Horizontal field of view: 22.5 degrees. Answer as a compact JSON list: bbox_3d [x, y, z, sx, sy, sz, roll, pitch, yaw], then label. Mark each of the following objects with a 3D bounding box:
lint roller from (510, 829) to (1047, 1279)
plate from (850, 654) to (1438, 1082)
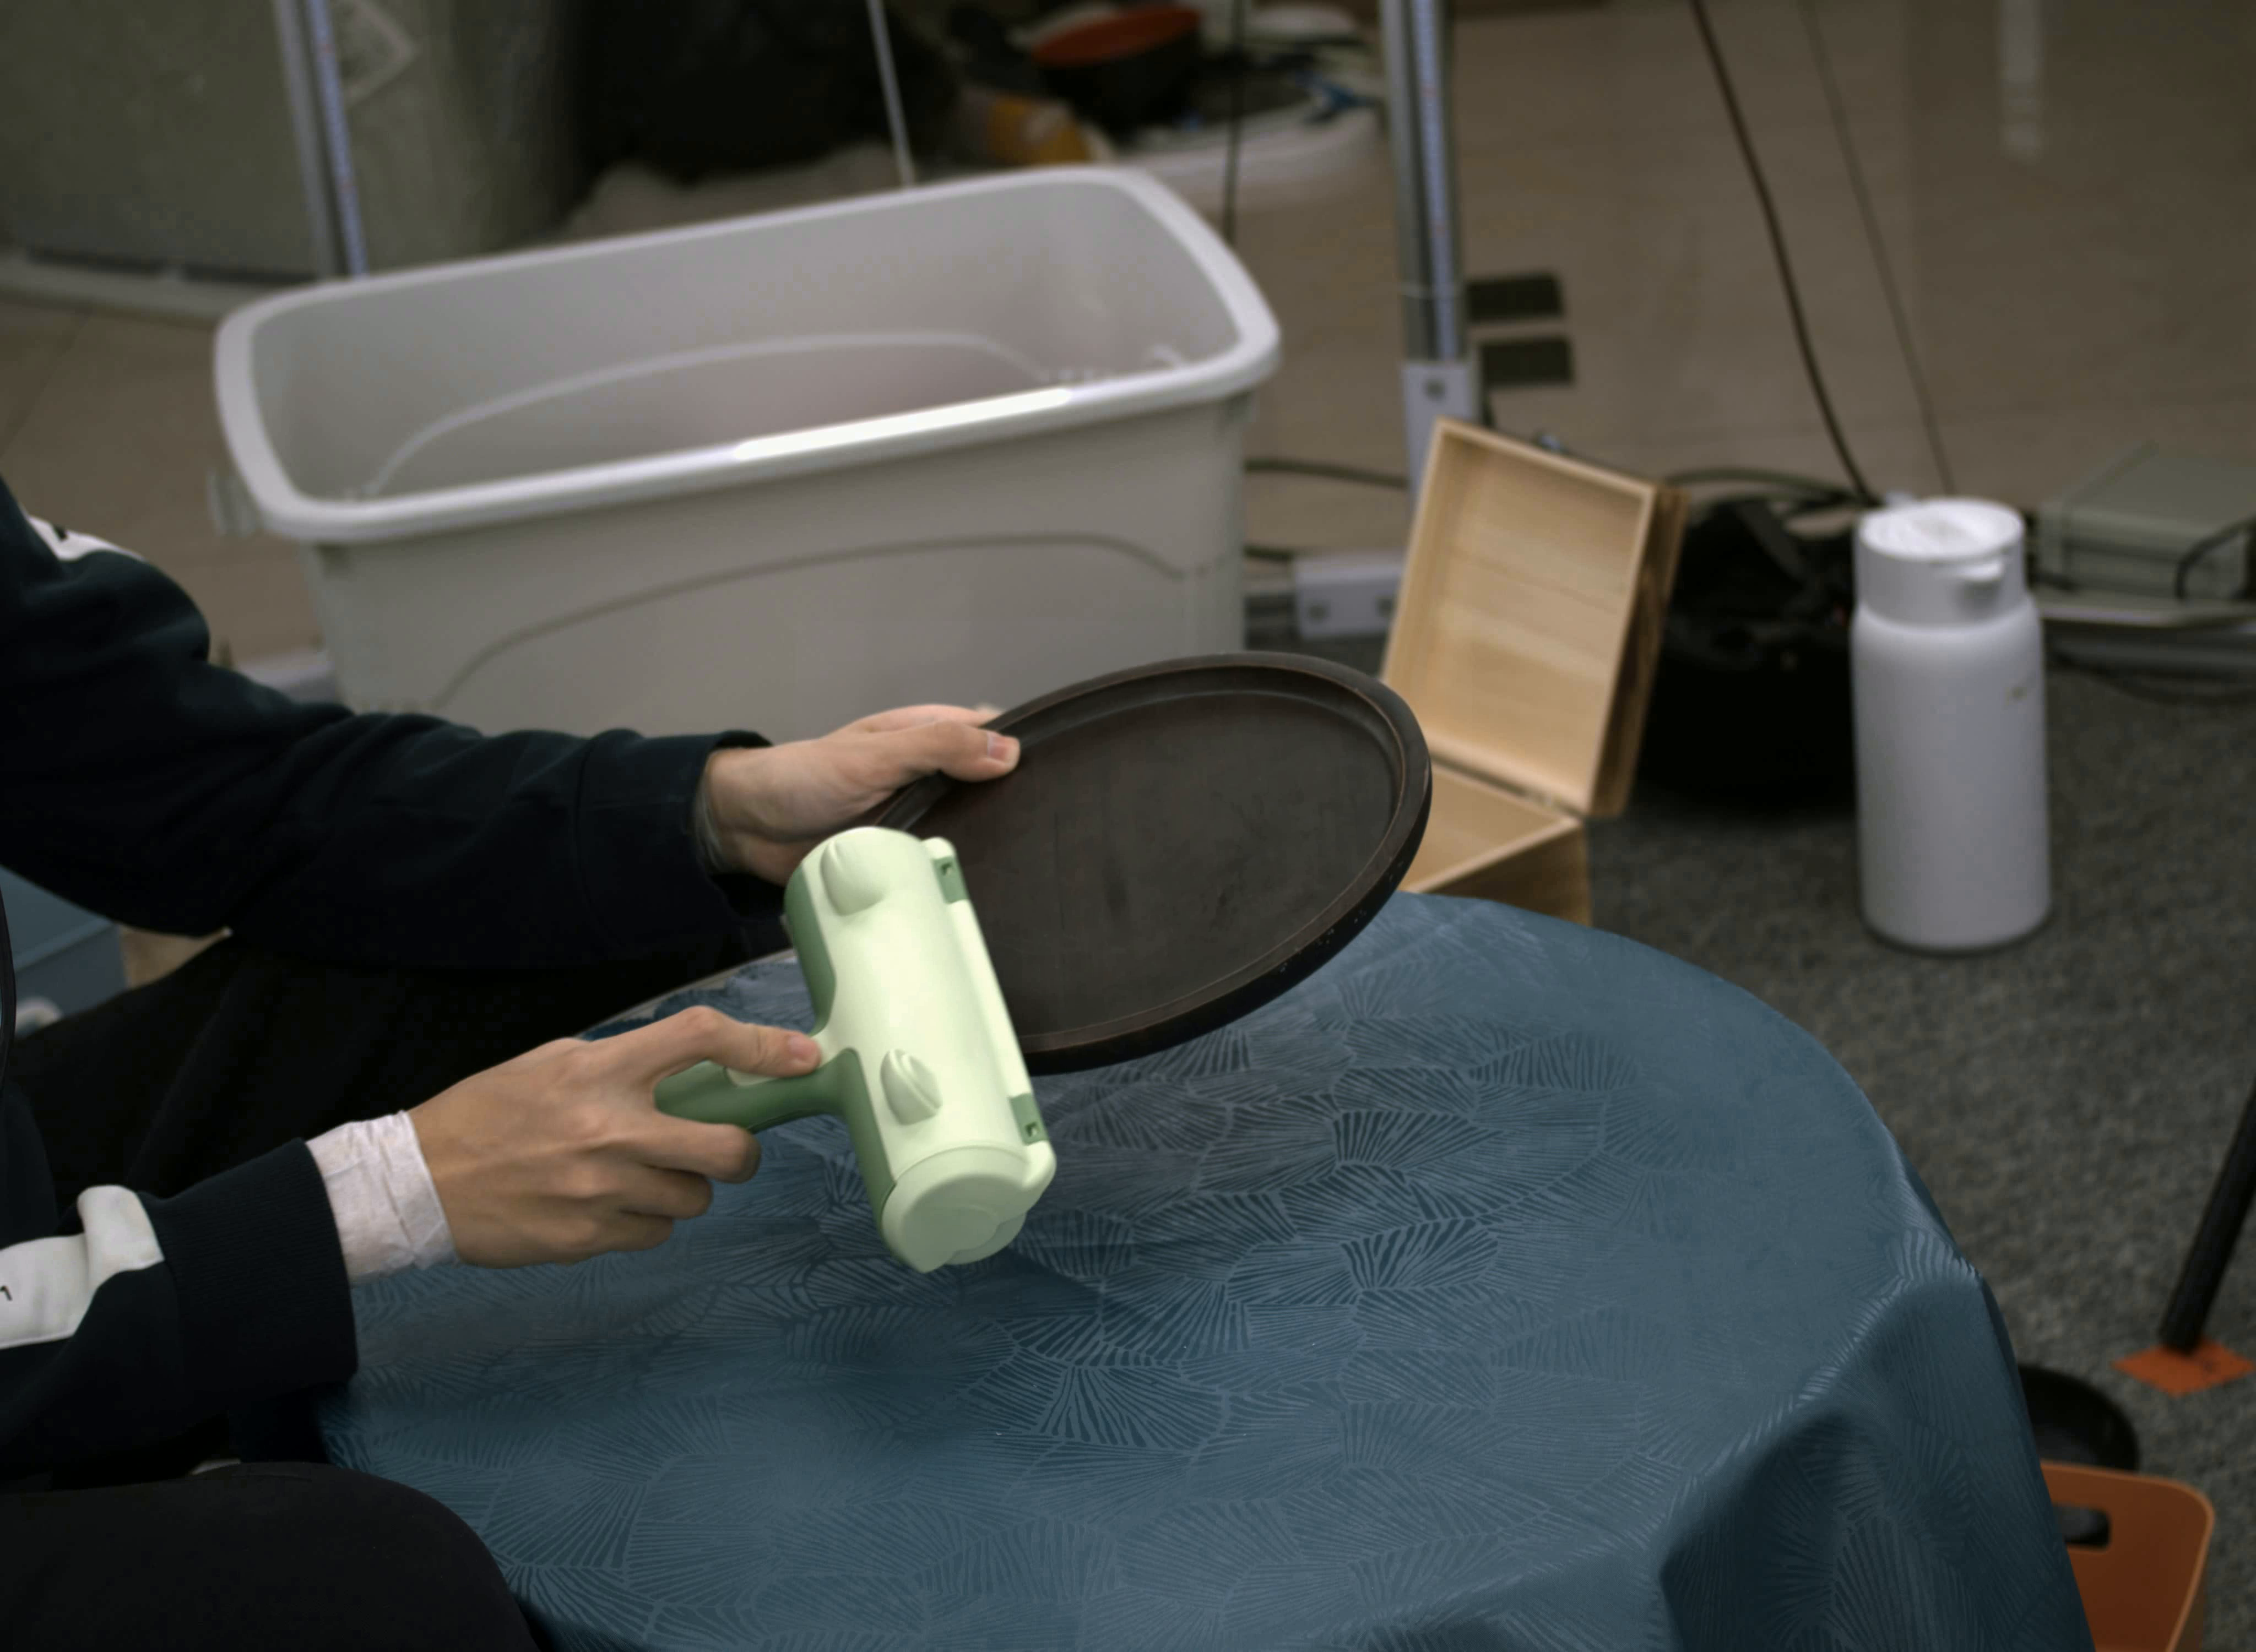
[{"bbox_3d":[-0.137,0.085,2.050,0.183,0.084,0.195,-11,43,-8],"label":"lint roller"},{"bbox_3d":[-0.002,0.015,2.167,0.255,0.029,0.250,-15,34,11],"label":"plate"}]
